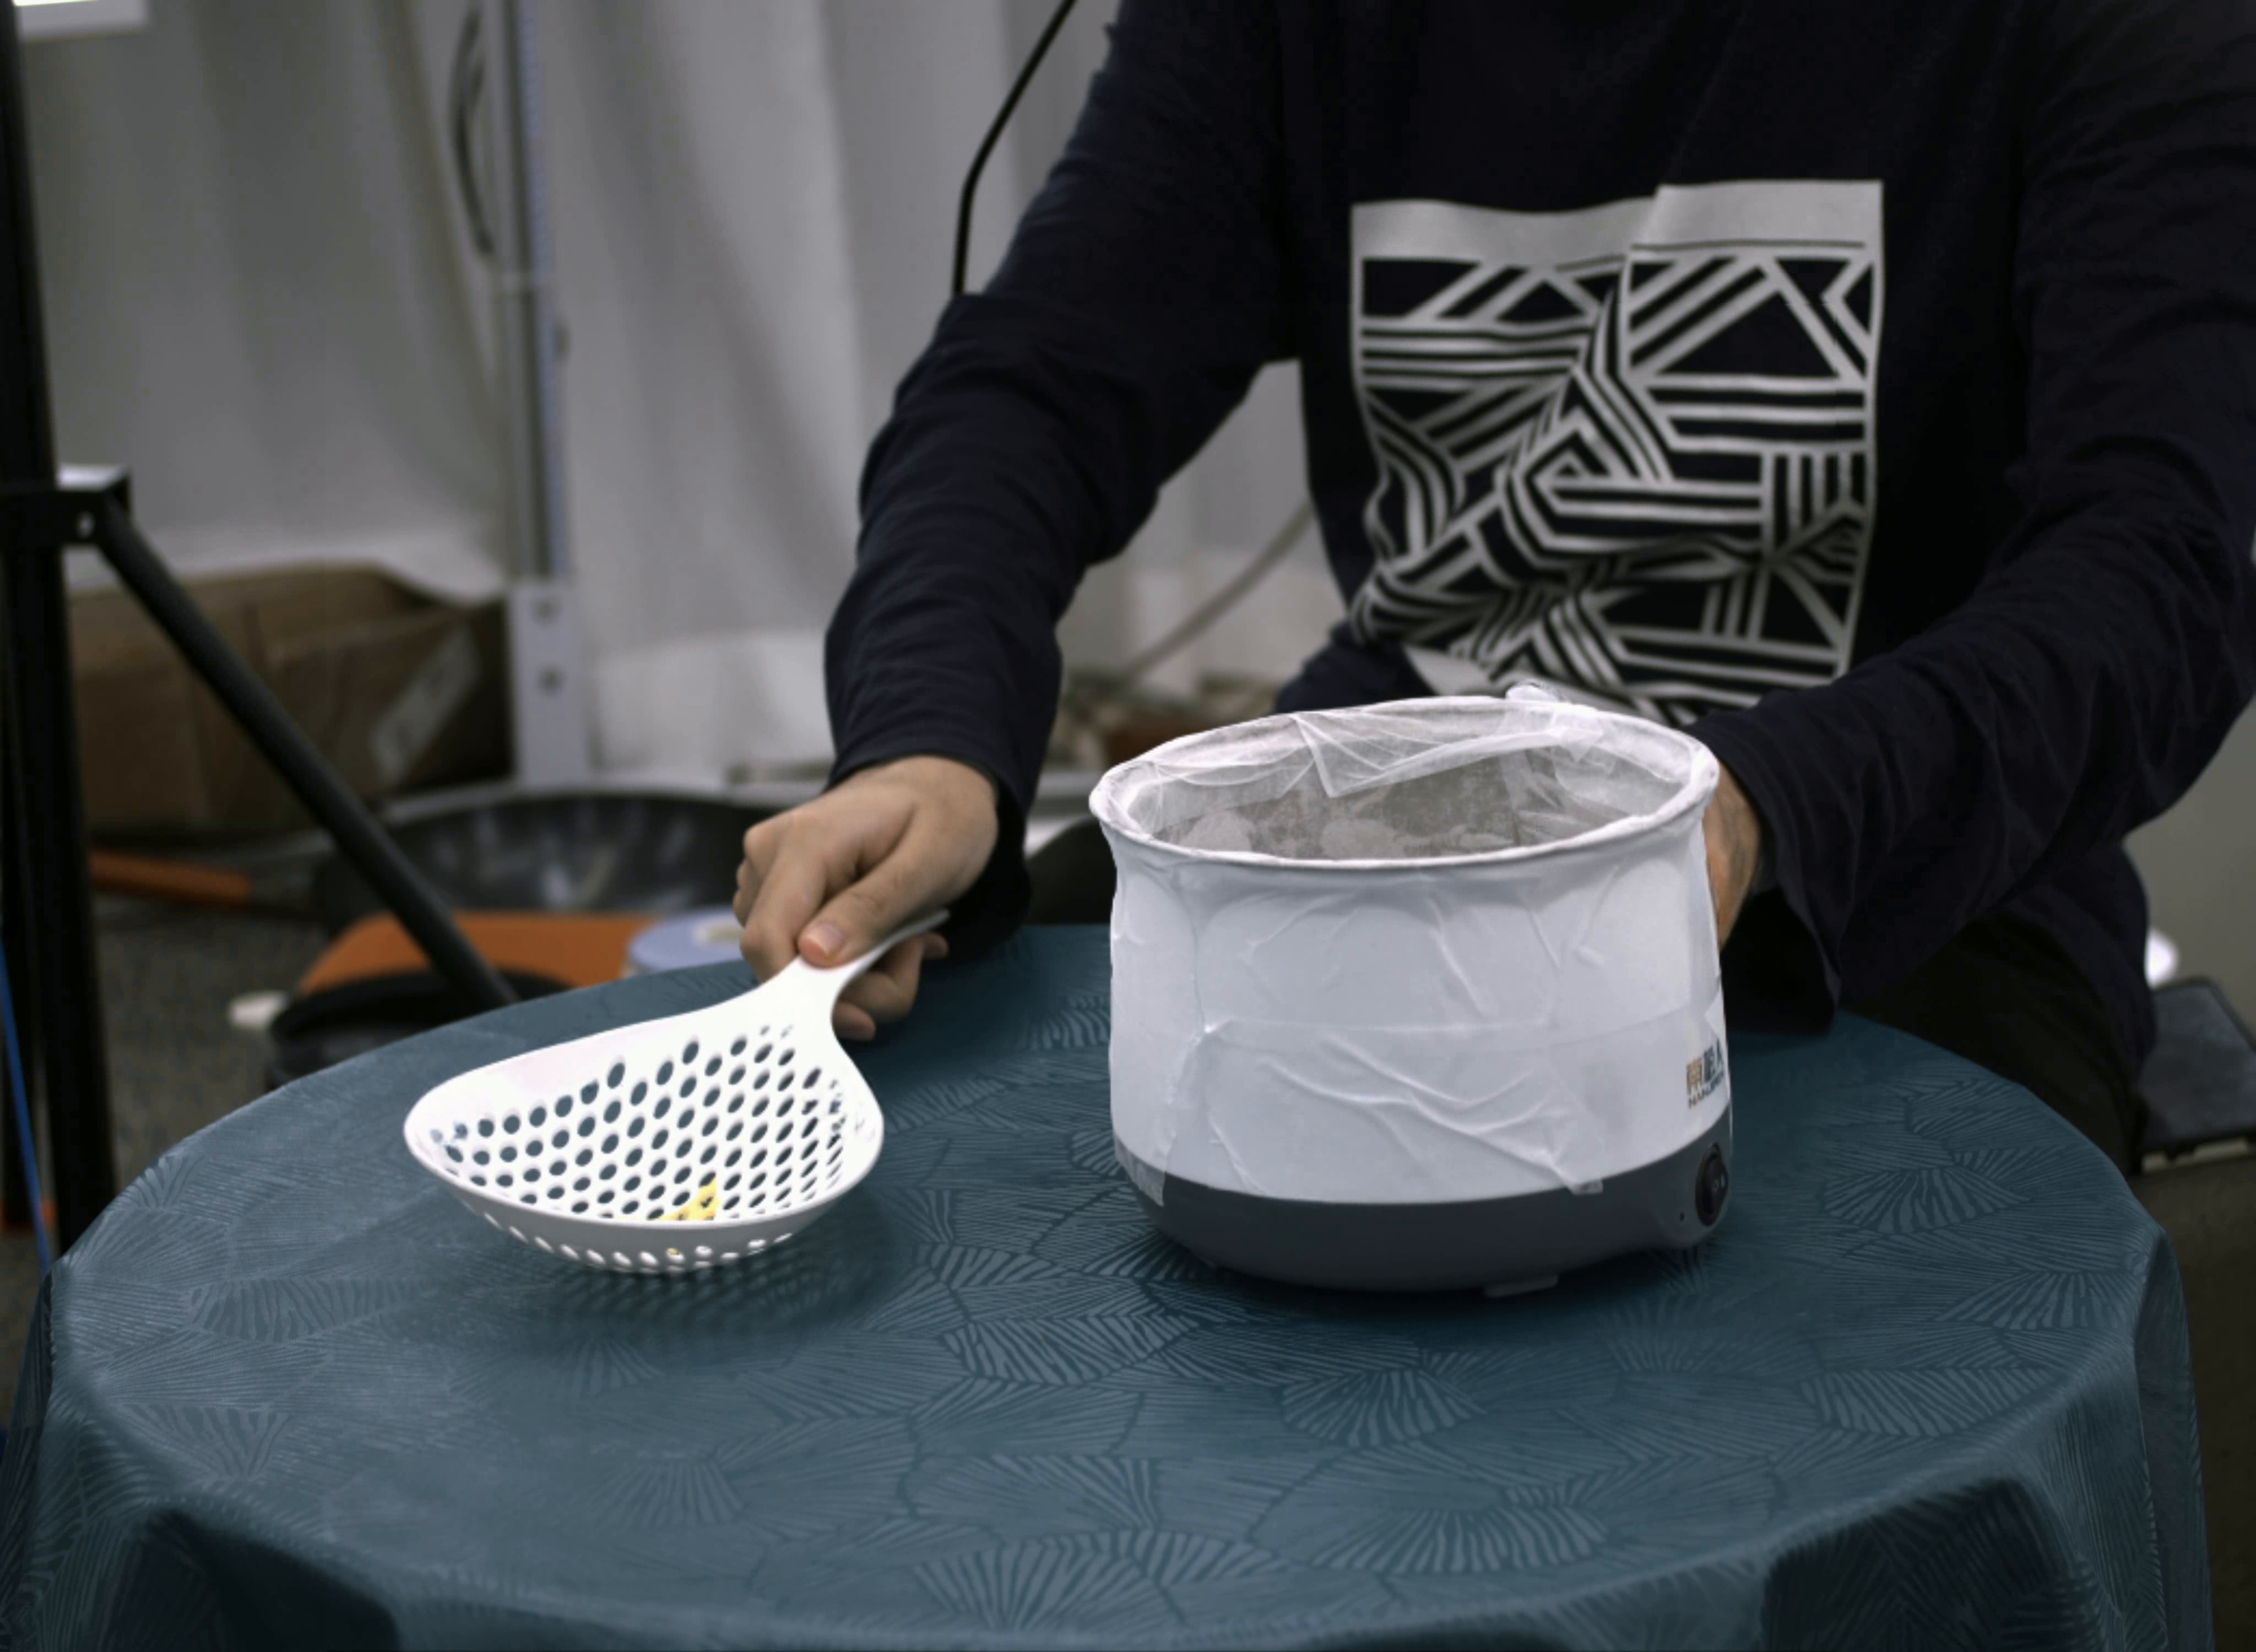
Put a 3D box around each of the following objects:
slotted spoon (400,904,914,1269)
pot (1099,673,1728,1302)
[{"bbox_3d":[-0.111,0.066,1.625,0.138,0.050,0.345,7,21,13],"label":"slotted spoon"},{"bbox_3d":[0.092,0.040,1.529,0.181,0.136,0.230,5,17,24],"label":"pot"}]
